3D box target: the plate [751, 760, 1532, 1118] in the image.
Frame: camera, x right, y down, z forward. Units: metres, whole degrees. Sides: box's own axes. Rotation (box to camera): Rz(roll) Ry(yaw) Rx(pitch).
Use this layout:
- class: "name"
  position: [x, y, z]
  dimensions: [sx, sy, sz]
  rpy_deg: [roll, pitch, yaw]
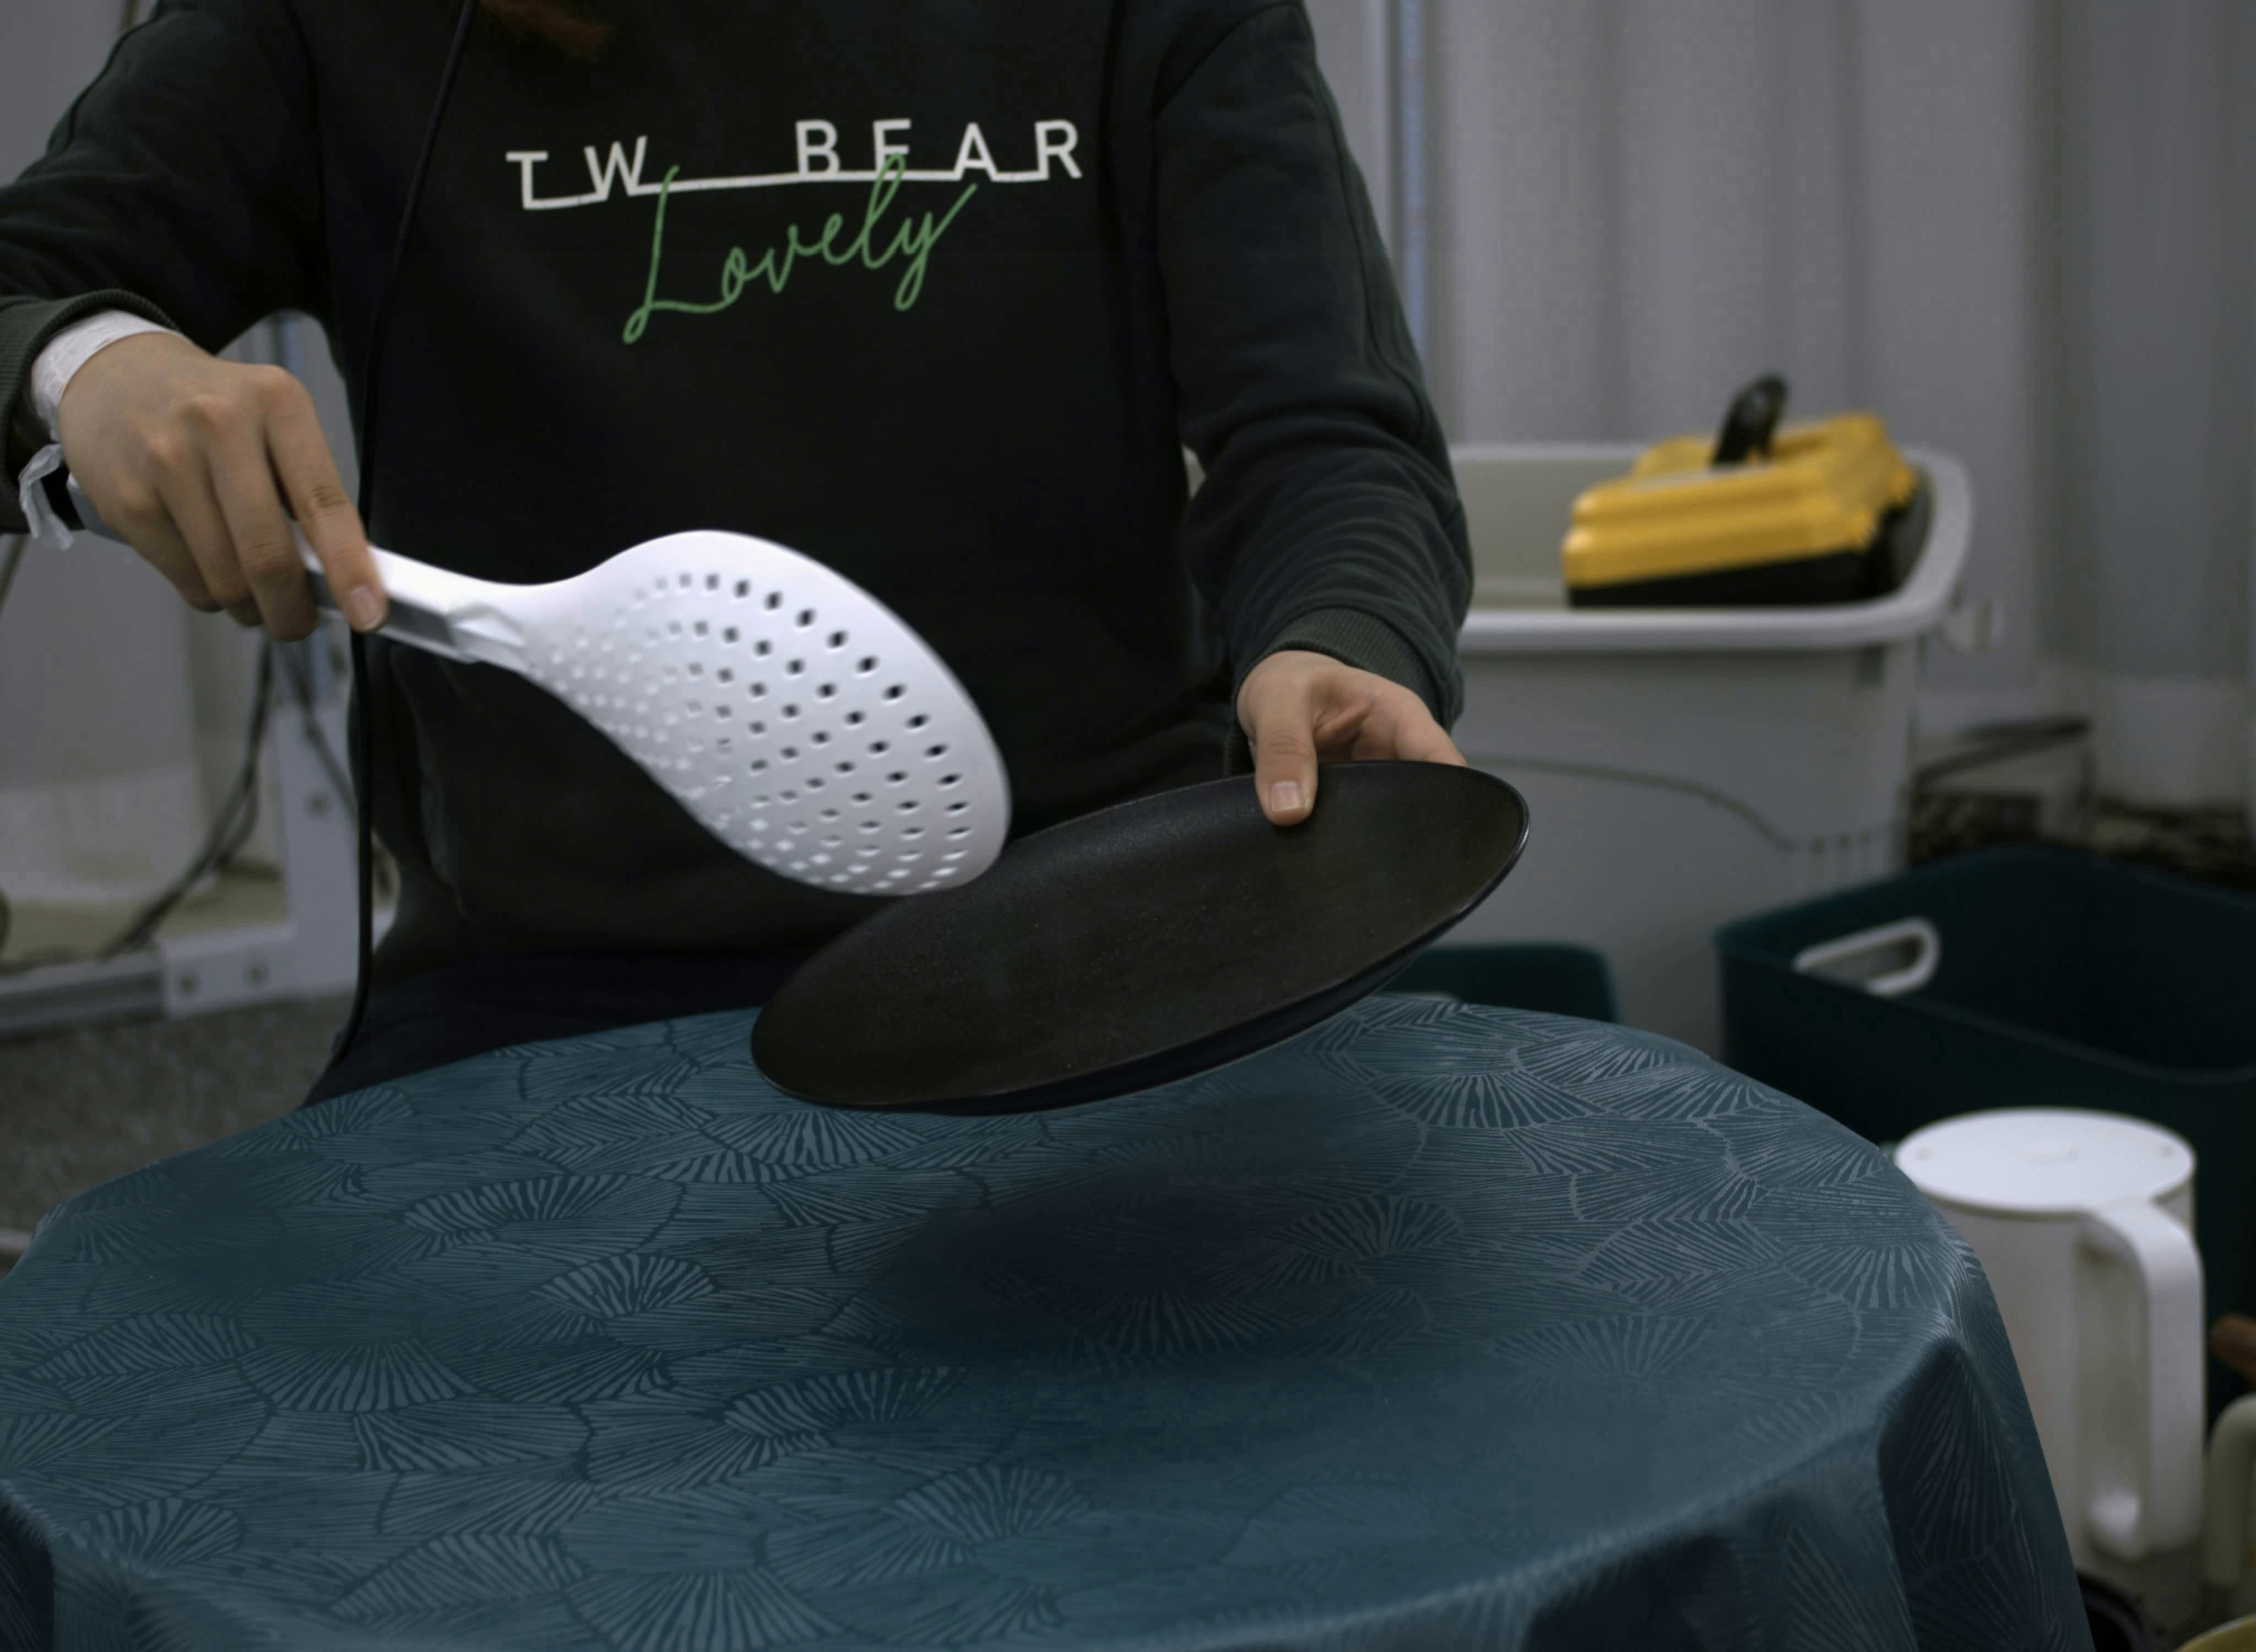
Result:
- class: "plate"
  position: [0.006, 0.037, 1.633]
  dimensions: [0.244, 0.023, 0.246]
  rpy_deg: [-16, 17, 4]

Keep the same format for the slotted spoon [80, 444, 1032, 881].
- class: "slotted spoon"
  position: [-0.180, -0.062, 1.645]
  dimensions: [0.352, 0.134, 0.046]
  rpy_deg: [22, 51, 32]
